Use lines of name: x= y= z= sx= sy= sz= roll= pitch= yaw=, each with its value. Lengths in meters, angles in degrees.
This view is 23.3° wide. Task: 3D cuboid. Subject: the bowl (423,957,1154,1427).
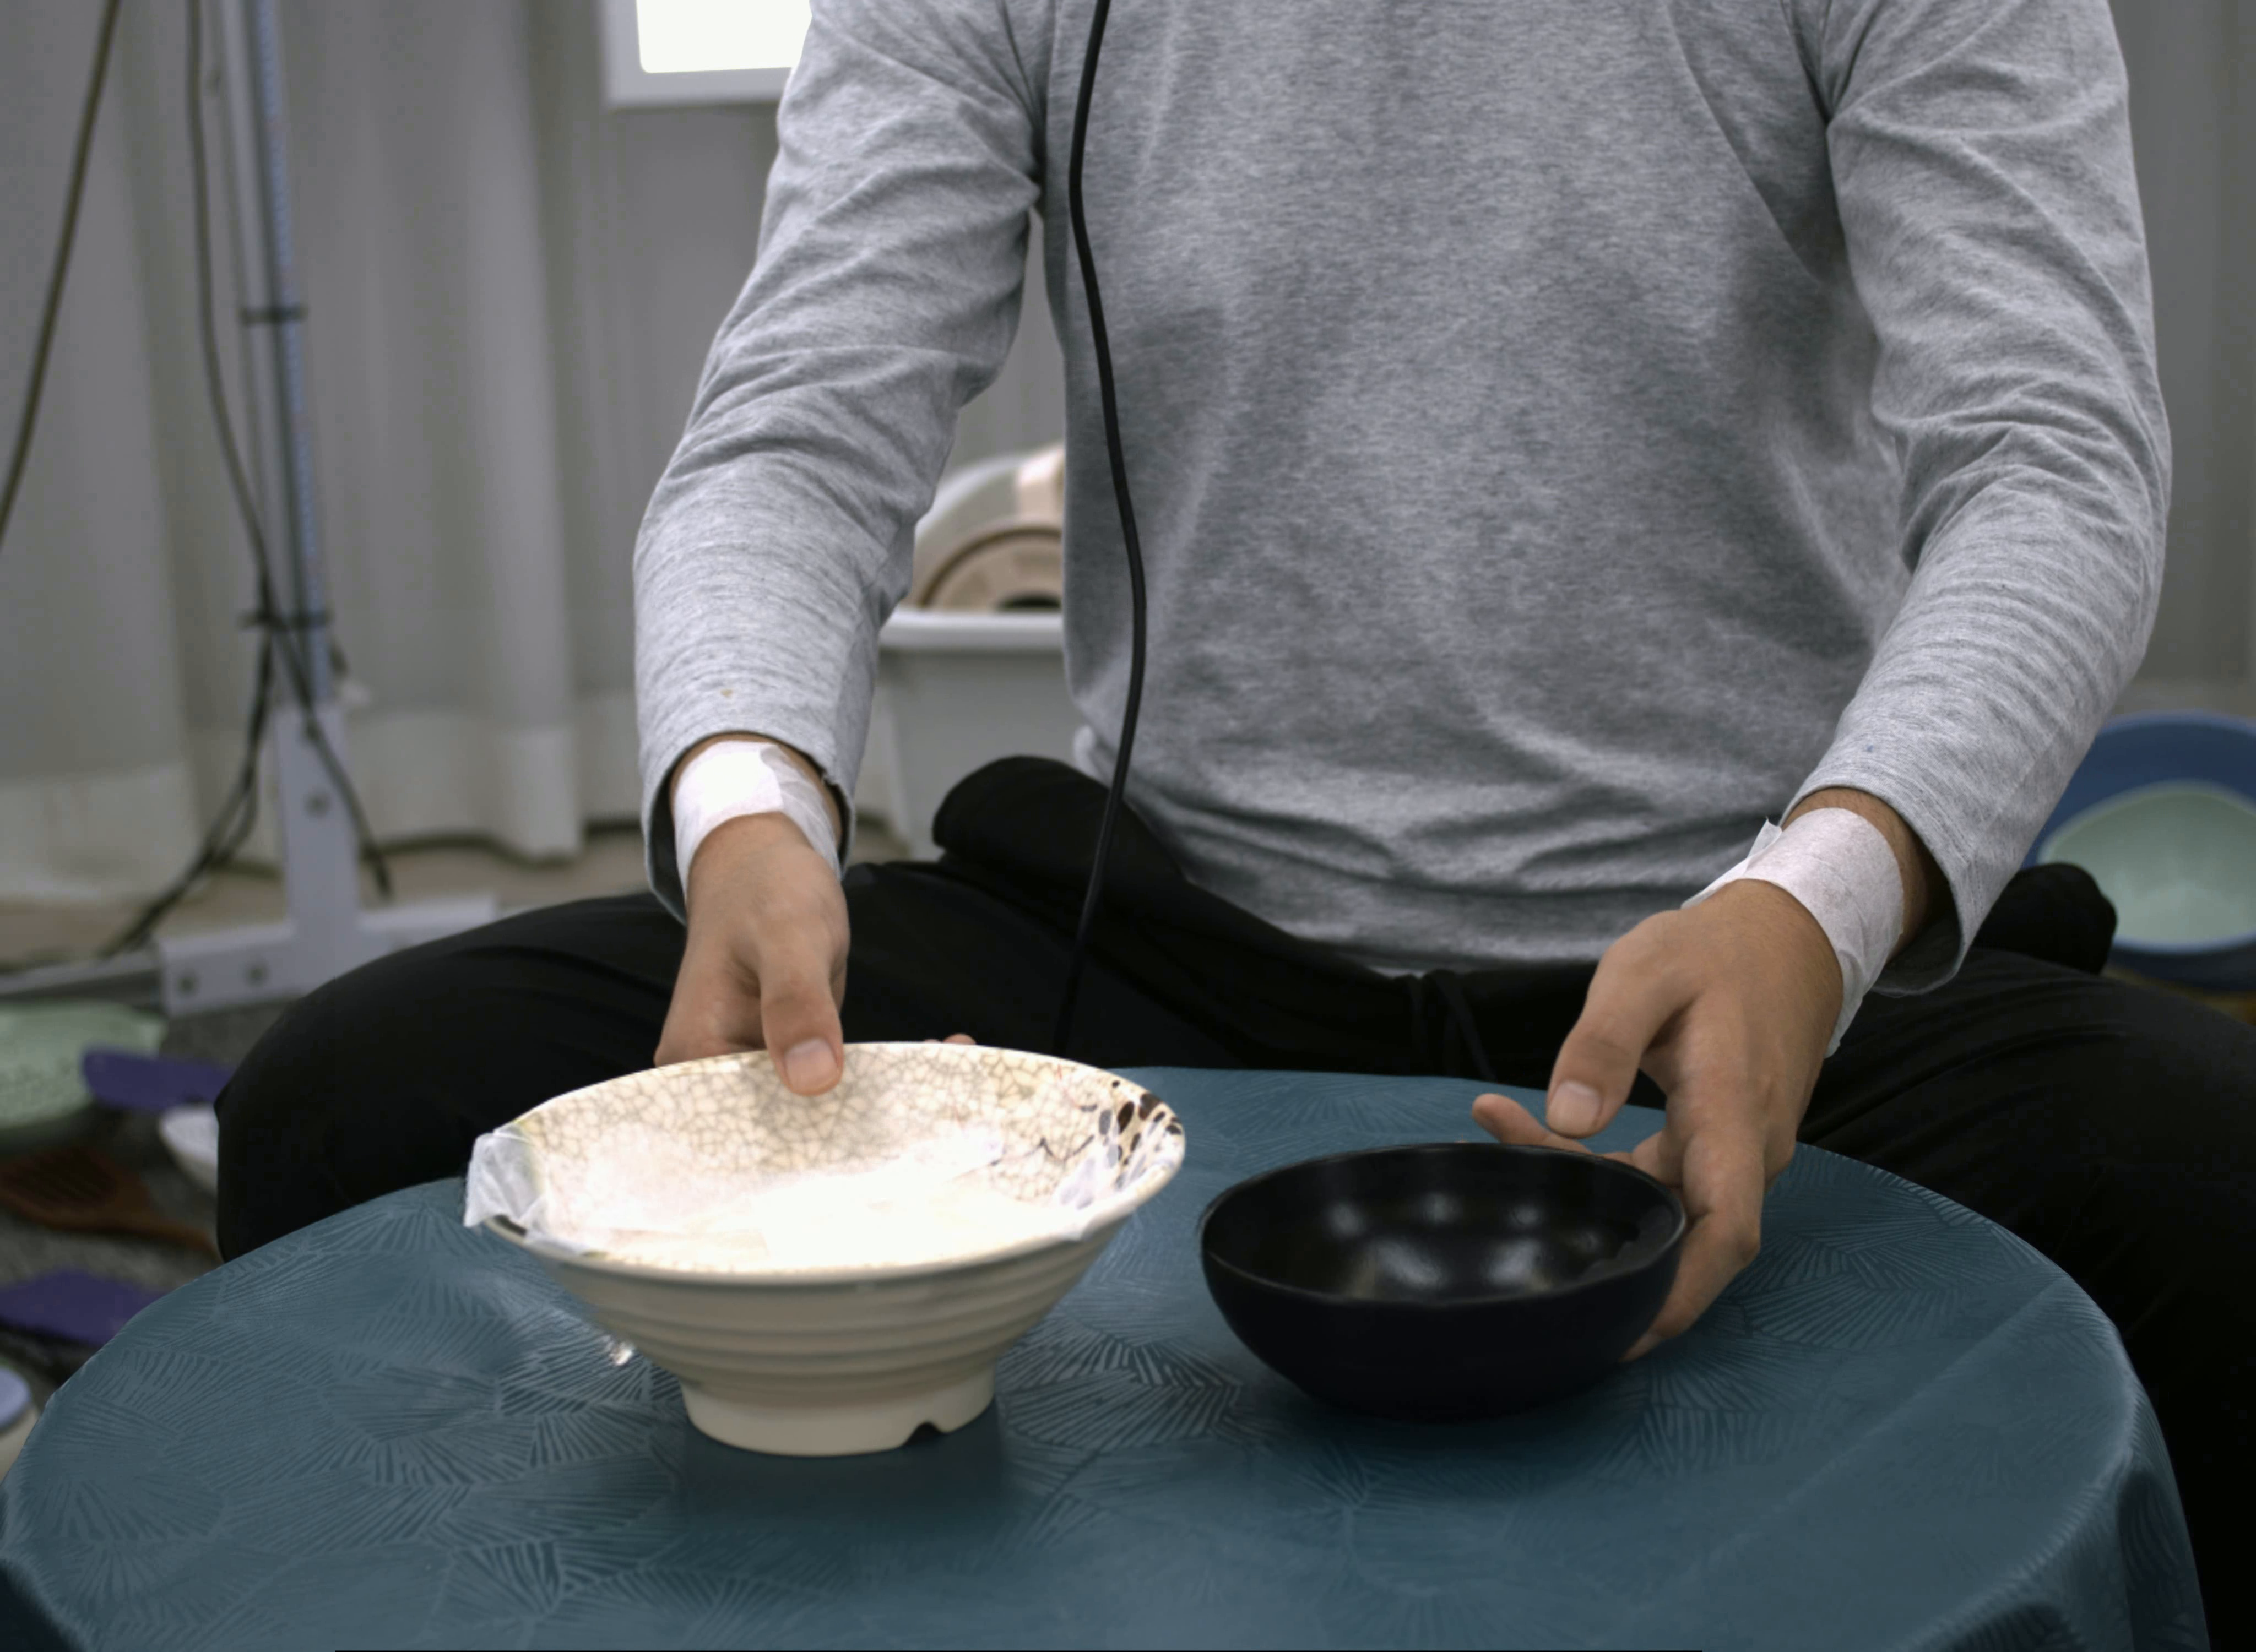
bowl: x=-0.093 y=0.114 z=1.536 sx=0.203 sy=0.077 sz=0.206 roll=-2 pitch=23 yaw=1

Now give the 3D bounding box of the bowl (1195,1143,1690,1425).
bowl: x=0.088 y=0.133 z=1.535 sx=0.139 sy=0.049 sz=0.141 roll=0 pitch=14 yaw=0
